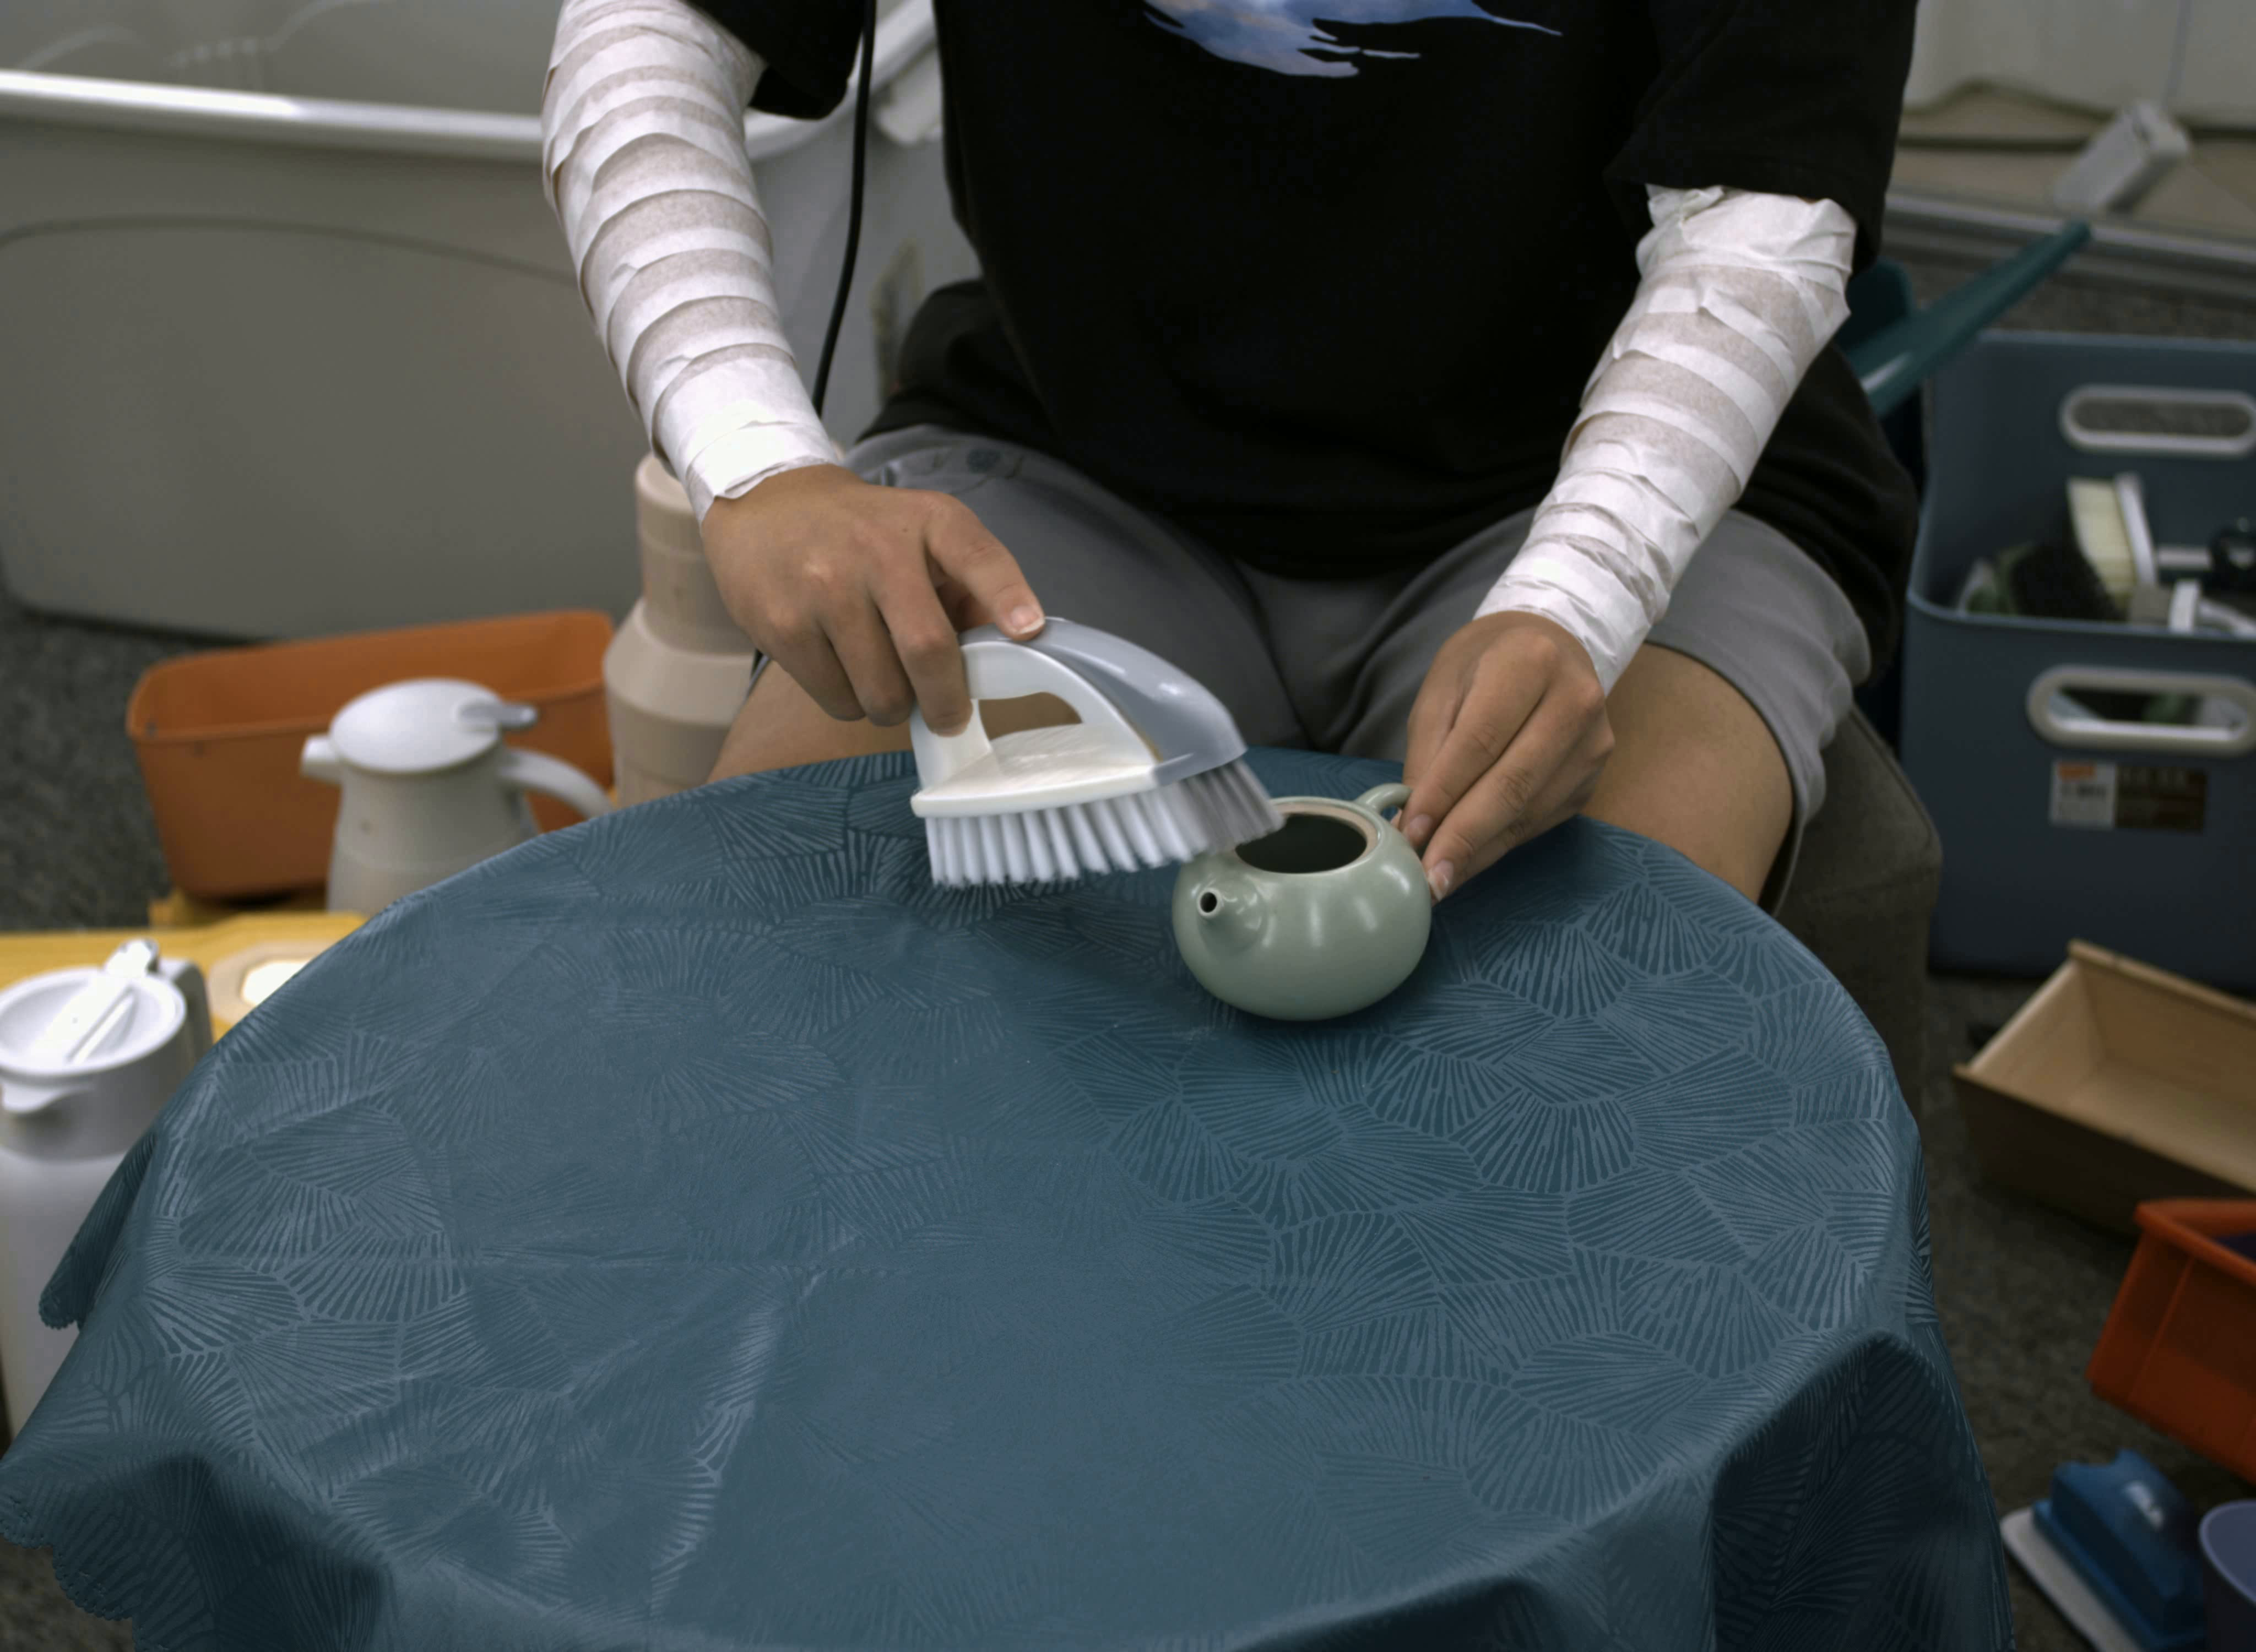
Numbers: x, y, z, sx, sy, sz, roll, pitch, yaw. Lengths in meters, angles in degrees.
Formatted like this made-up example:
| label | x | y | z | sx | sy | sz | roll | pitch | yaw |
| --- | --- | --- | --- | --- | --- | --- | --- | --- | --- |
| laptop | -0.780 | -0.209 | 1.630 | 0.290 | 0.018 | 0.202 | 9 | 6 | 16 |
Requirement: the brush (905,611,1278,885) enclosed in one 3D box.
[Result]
| label | x | y | z | sx | sy | sz | roll | pitch | yaw |
| --- | --- | --- | --- | --- | --- | --- | --- | --- | --- |
| brush | -0.018 | -0.033 | 1.984 | 0.062 | 0.094 | 0.174 | -35 | 20 | -32 |

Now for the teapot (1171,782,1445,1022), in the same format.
| label | x | y | z | sx | sy | sz | roll | pitch | yaw |
| --- | --- | --- | --- | --- | --- | --- | --- | --- | --- |
| teapot | 0.067 | 0.026 | 1.975 | 0.091 | 0.060 | 0.130 | 20 | 35 | 40 |
